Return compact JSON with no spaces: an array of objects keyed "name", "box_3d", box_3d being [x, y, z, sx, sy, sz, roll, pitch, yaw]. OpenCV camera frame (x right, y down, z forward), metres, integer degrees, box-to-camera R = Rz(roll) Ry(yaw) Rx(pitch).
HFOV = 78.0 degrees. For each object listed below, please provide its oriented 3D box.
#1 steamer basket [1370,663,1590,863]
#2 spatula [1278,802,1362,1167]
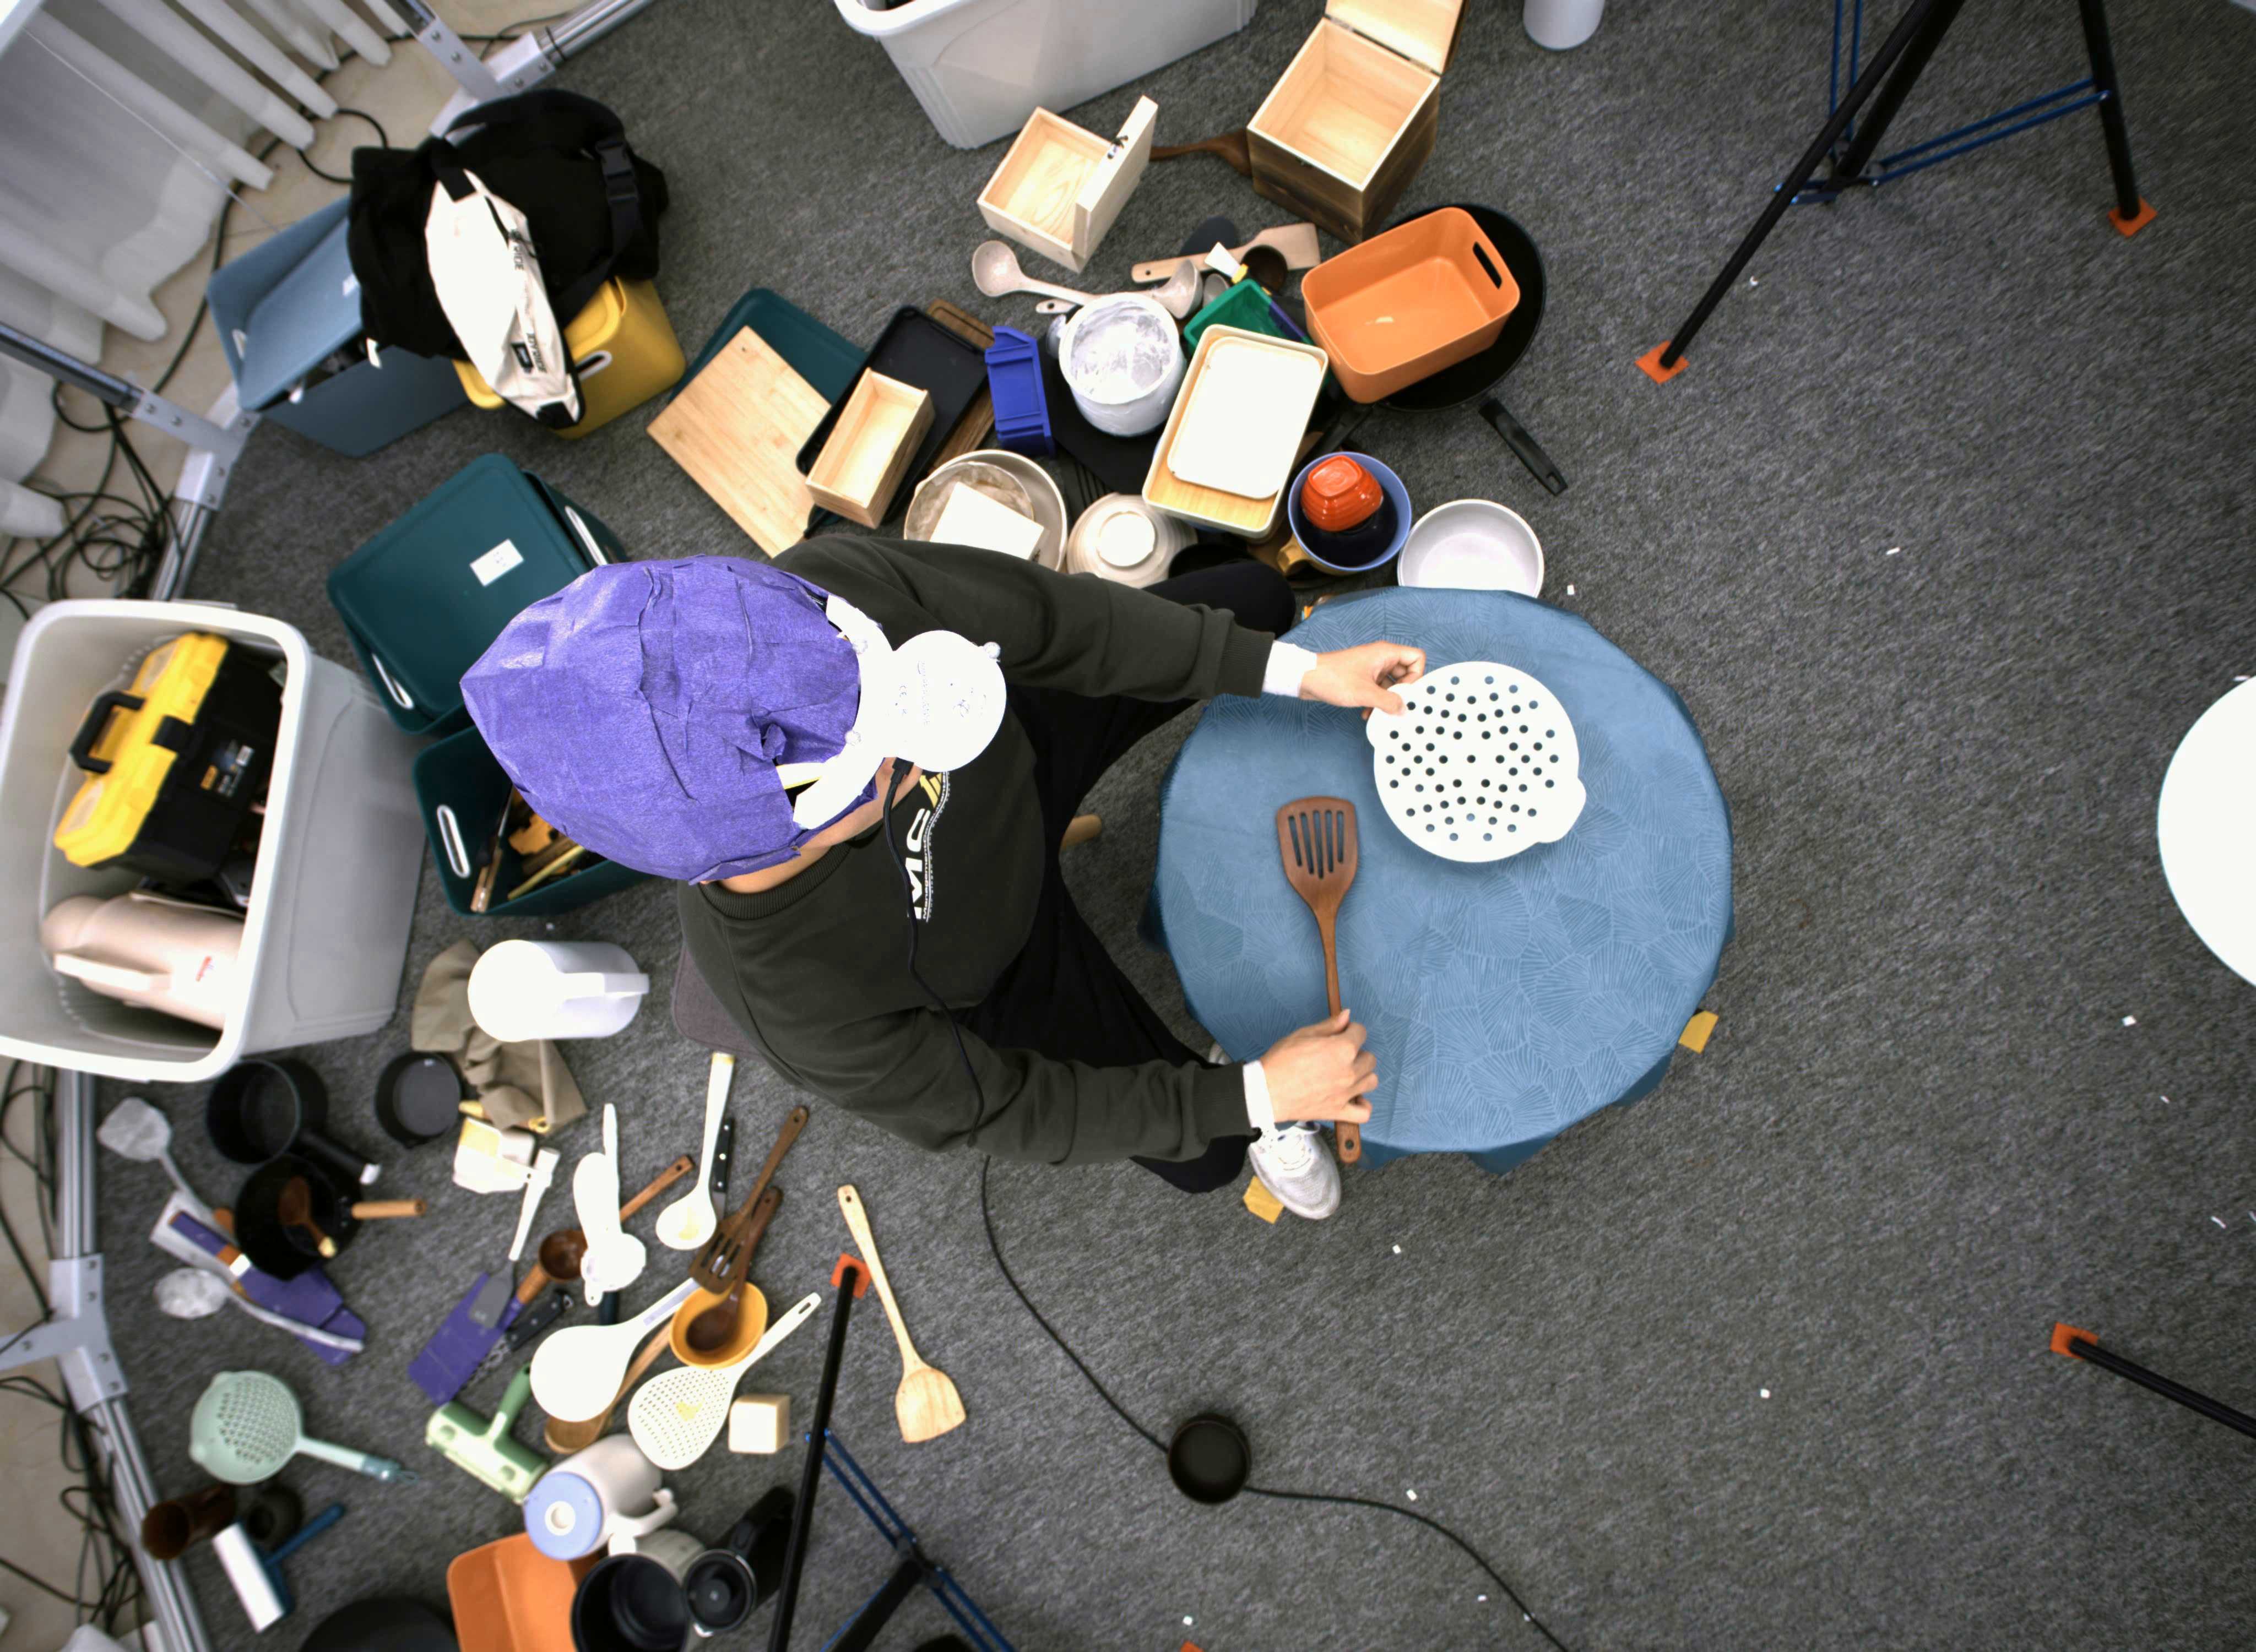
[{"name":"steamer basket","box_3d":[0.358,-0.066,1.406,0.230,0.068,0.204,31,101,8]},{"name":"spatula","box_3d":[0.211,0.153,1.415,0.086,0.024,0.378,-5,68,6]}]
